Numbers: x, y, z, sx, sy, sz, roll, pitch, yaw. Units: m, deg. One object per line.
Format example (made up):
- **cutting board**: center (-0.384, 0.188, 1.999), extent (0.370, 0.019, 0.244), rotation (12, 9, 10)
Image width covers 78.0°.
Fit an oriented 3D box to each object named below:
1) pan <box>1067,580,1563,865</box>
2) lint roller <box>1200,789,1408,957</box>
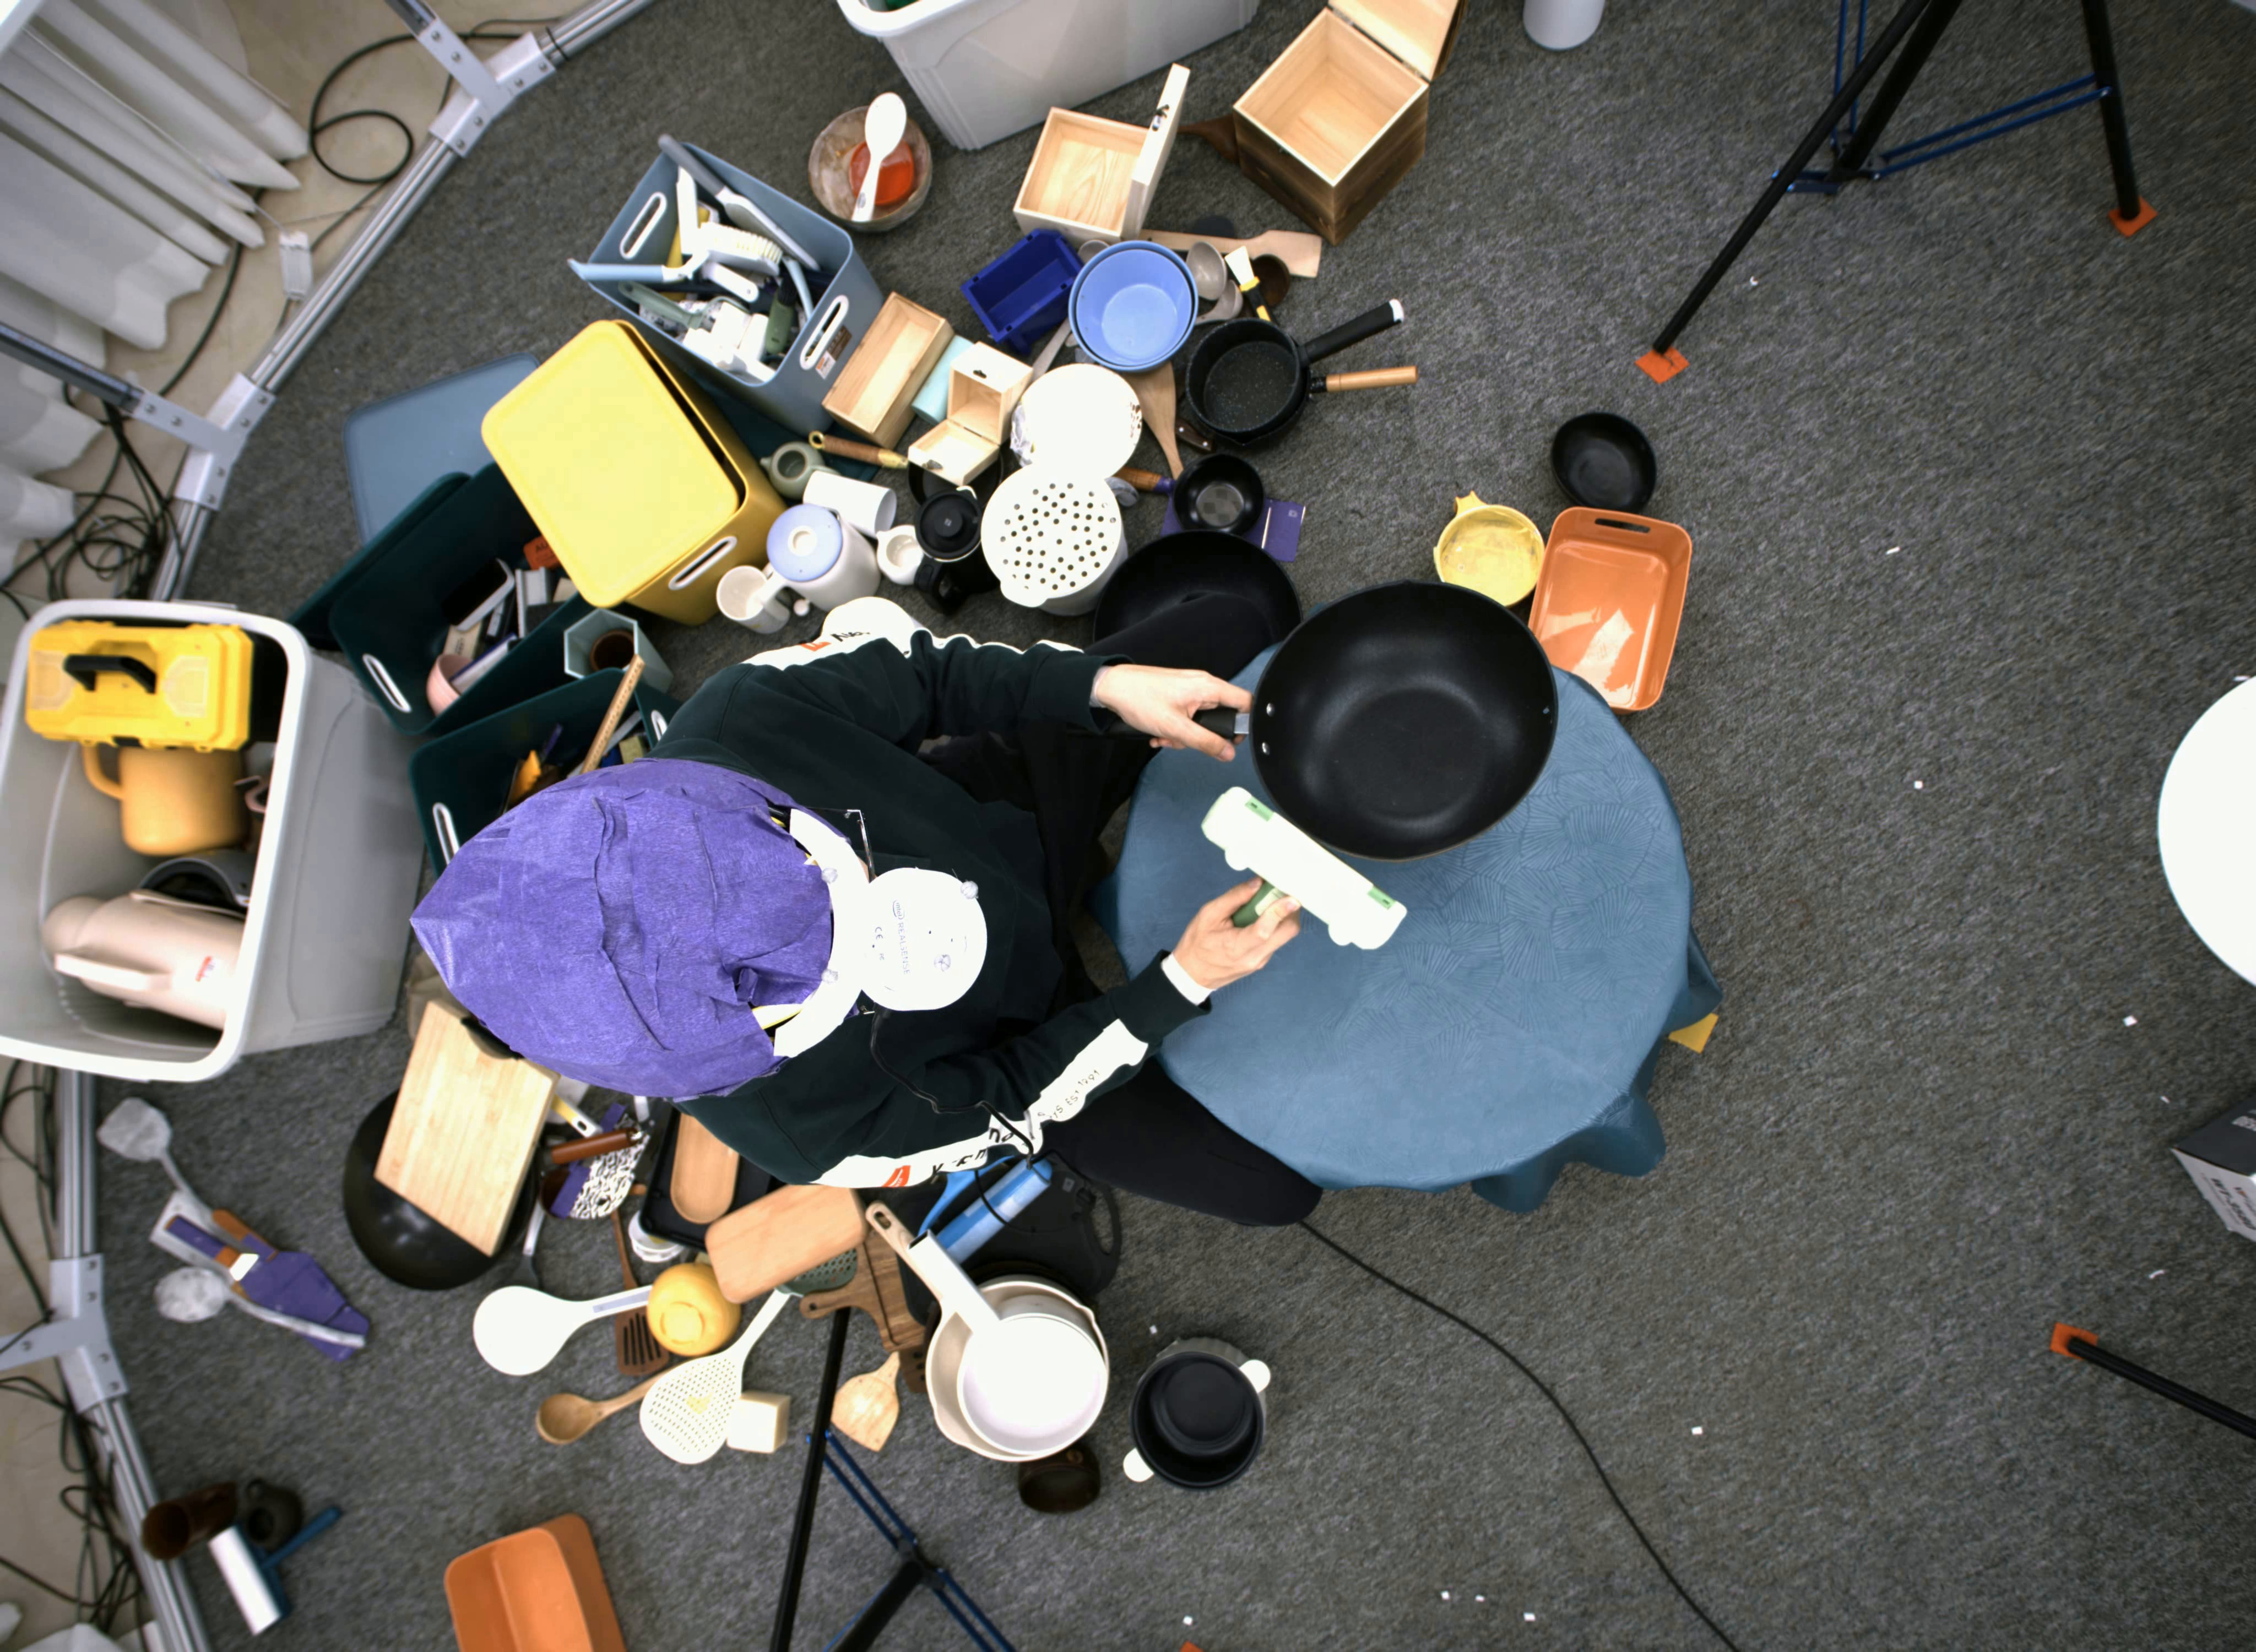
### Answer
- **pan**: center (0.169, -0.085, 1.293), extent (0.466, 0.088, 0.283), rotation (-1, 69, 20)
- **lint roller**: center (0.127, 0.079, 1.274), extent (0.199, 0.080, 0.187), rotation (35, 126, -6)
